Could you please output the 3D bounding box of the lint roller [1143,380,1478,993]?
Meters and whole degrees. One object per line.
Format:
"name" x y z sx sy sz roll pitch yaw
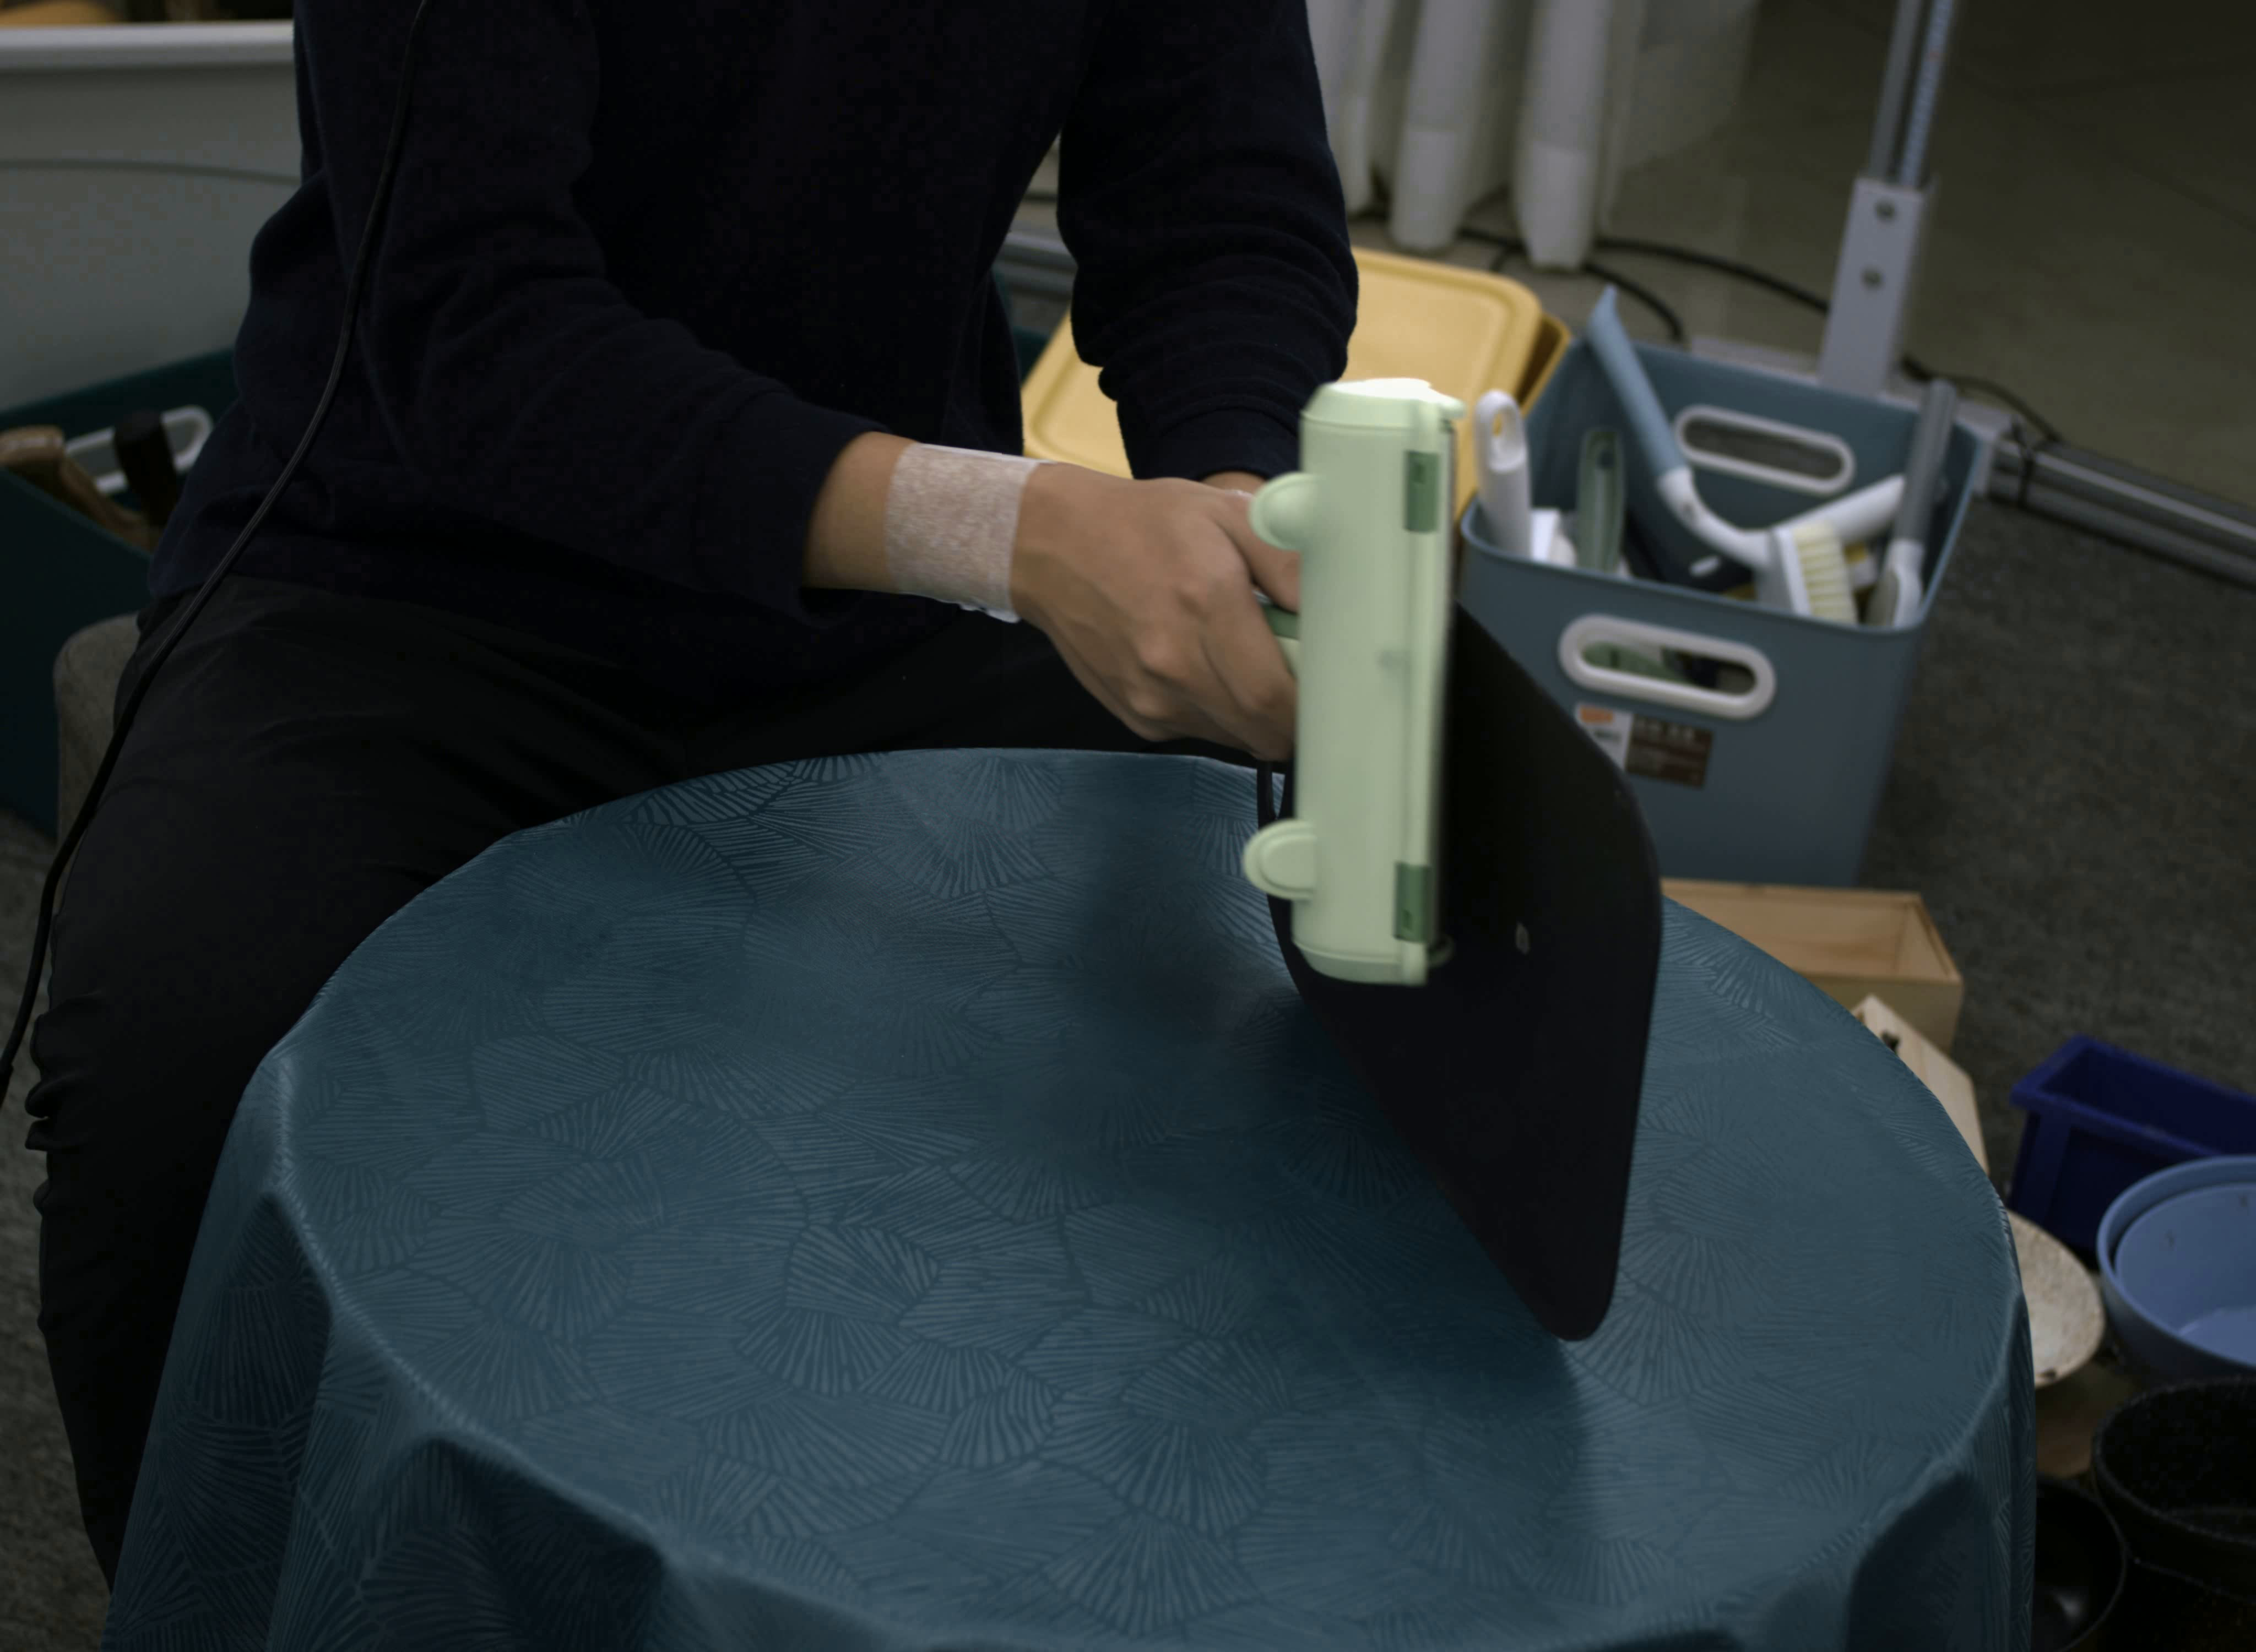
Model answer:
"lint roller" 0.044 -0.054 1.784 0.081 0.198 0.184 -7 13 -39

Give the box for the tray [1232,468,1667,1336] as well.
"tray" 0.102 0.016 1.803 0.010 0.210 0.328 -7 29 -21
